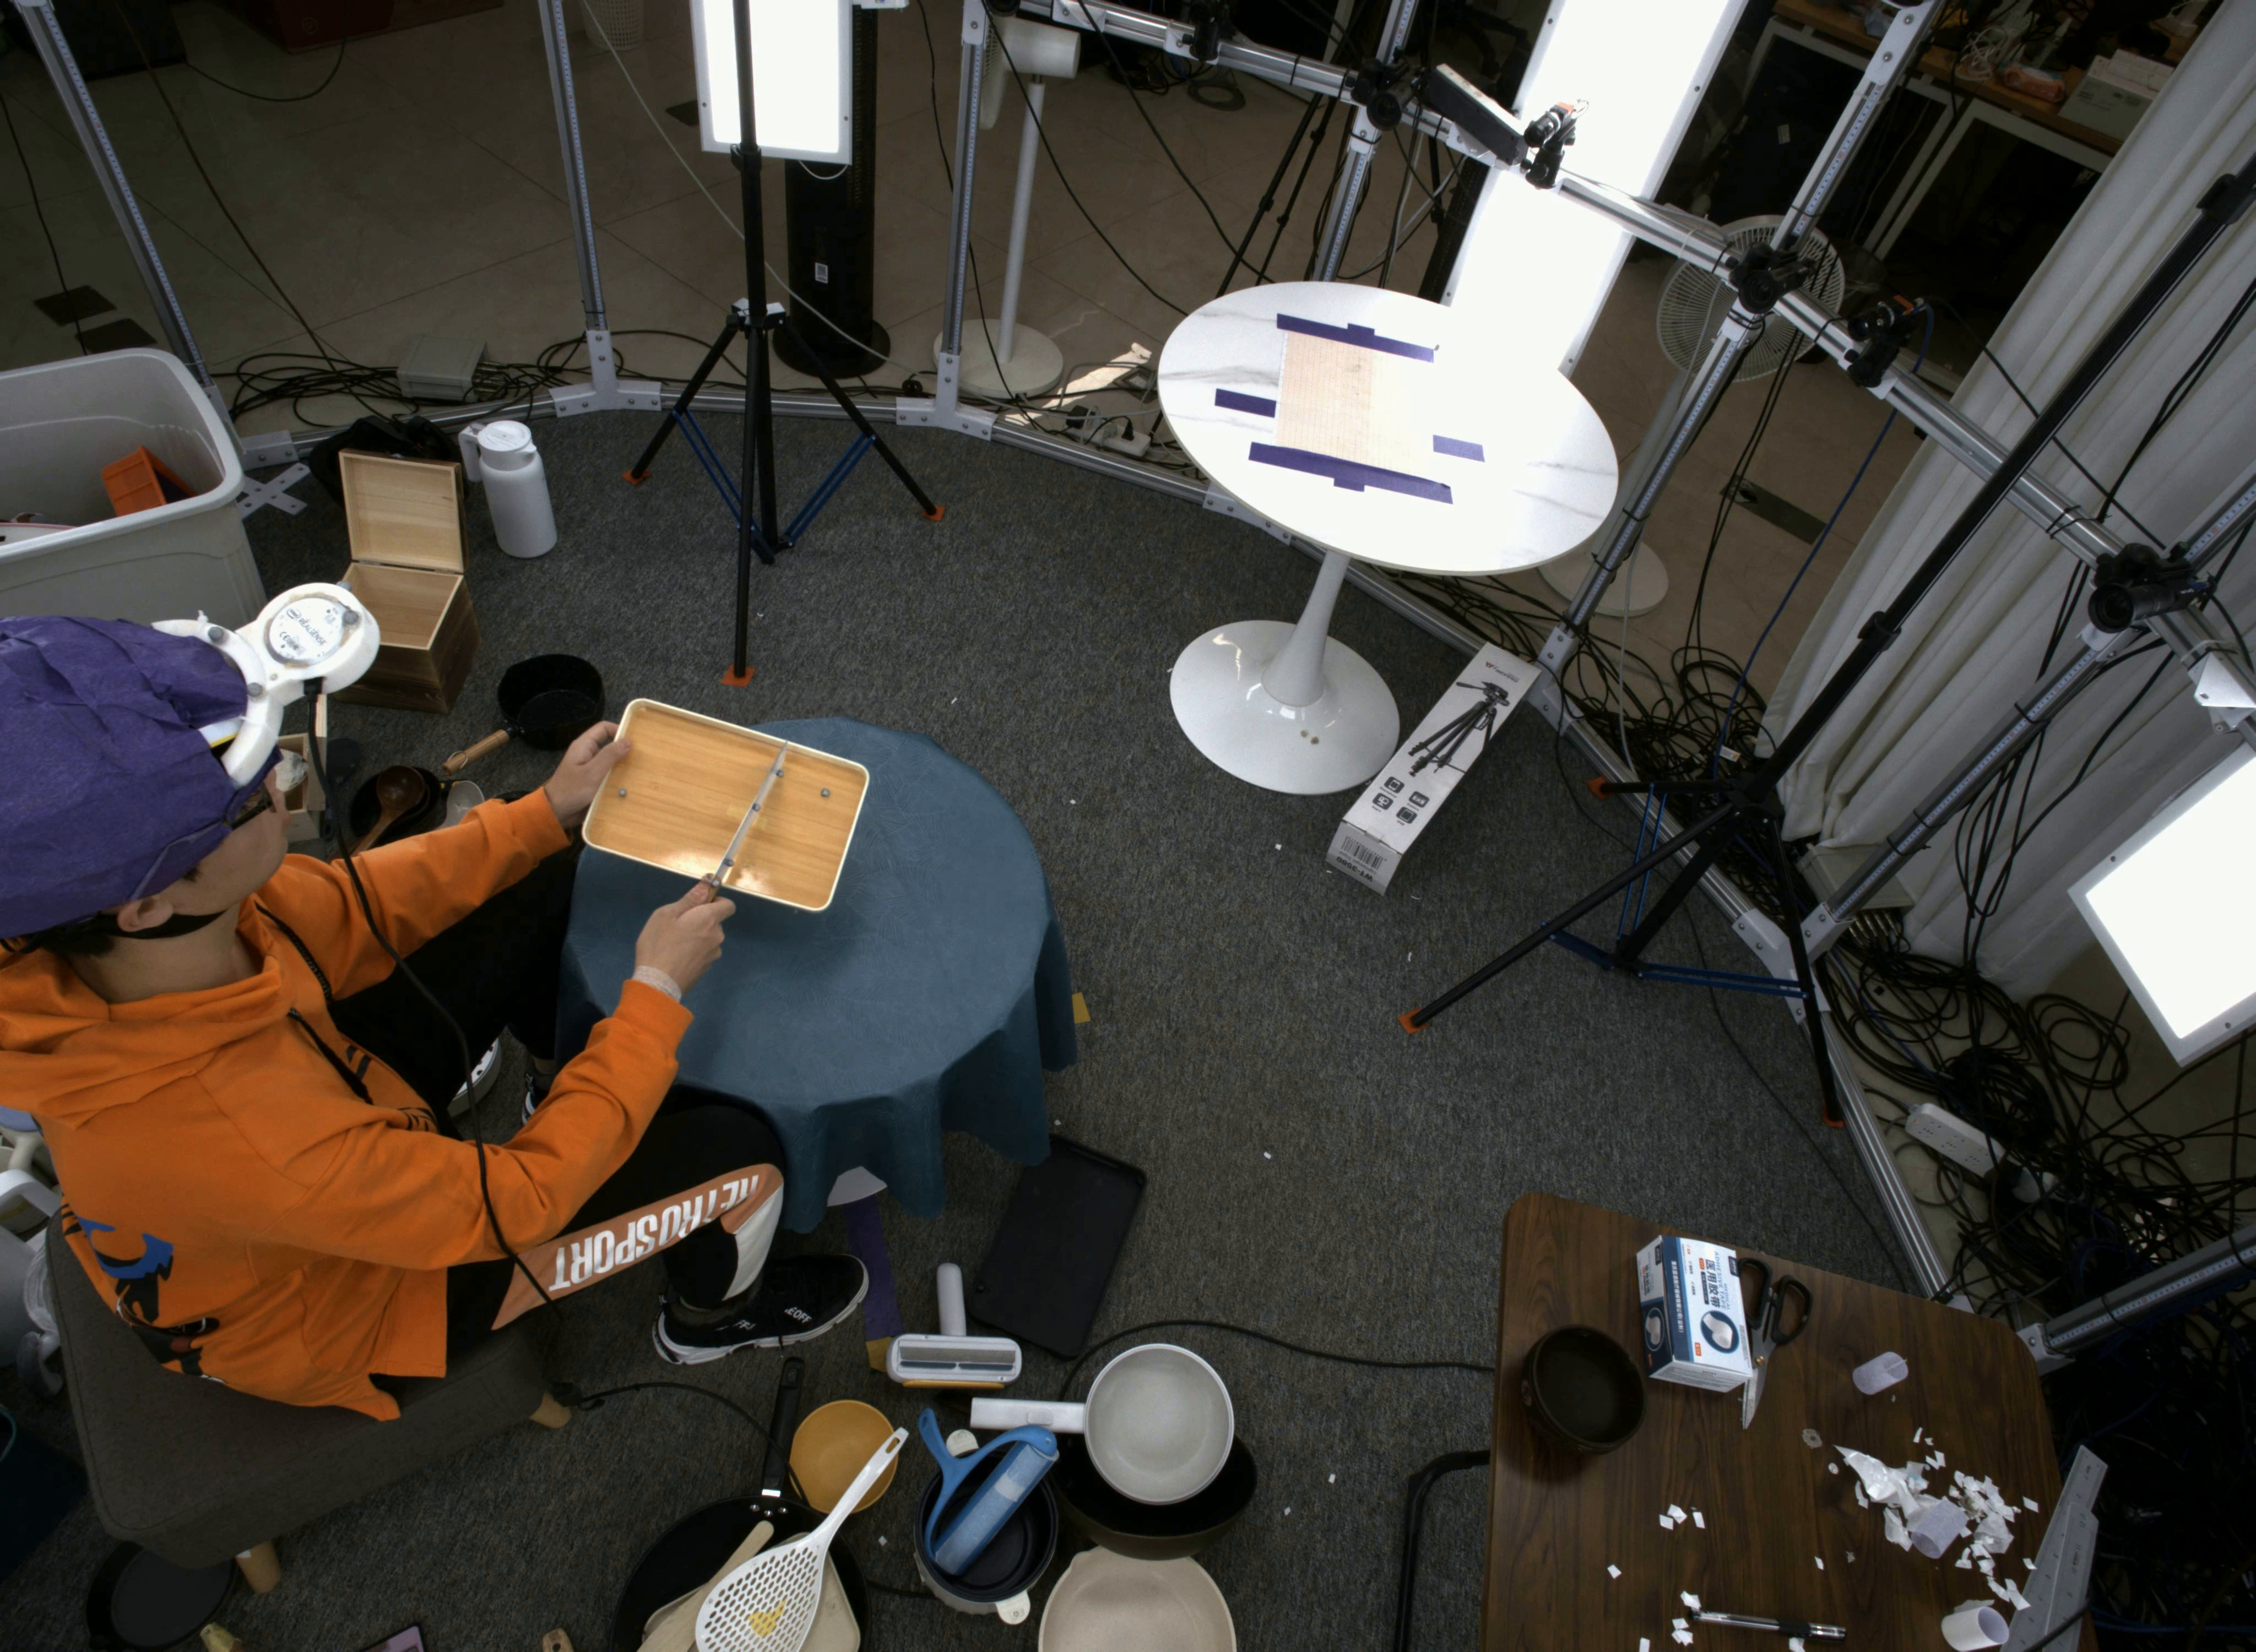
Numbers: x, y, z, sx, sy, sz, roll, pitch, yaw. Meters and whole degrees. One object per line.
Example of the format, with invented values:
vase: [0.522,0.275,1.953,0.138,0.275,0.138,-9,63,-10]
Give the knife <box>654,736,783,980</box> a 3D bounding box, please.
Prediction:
knife: [-0.457,0.037,1.457,0.021,0.093,0.304,25,67,-8]

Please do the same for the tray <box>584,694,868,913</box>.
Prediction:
tray: [-0.475,-0.028,1.525,0.301,0.027,0.191,17,75,-12]
